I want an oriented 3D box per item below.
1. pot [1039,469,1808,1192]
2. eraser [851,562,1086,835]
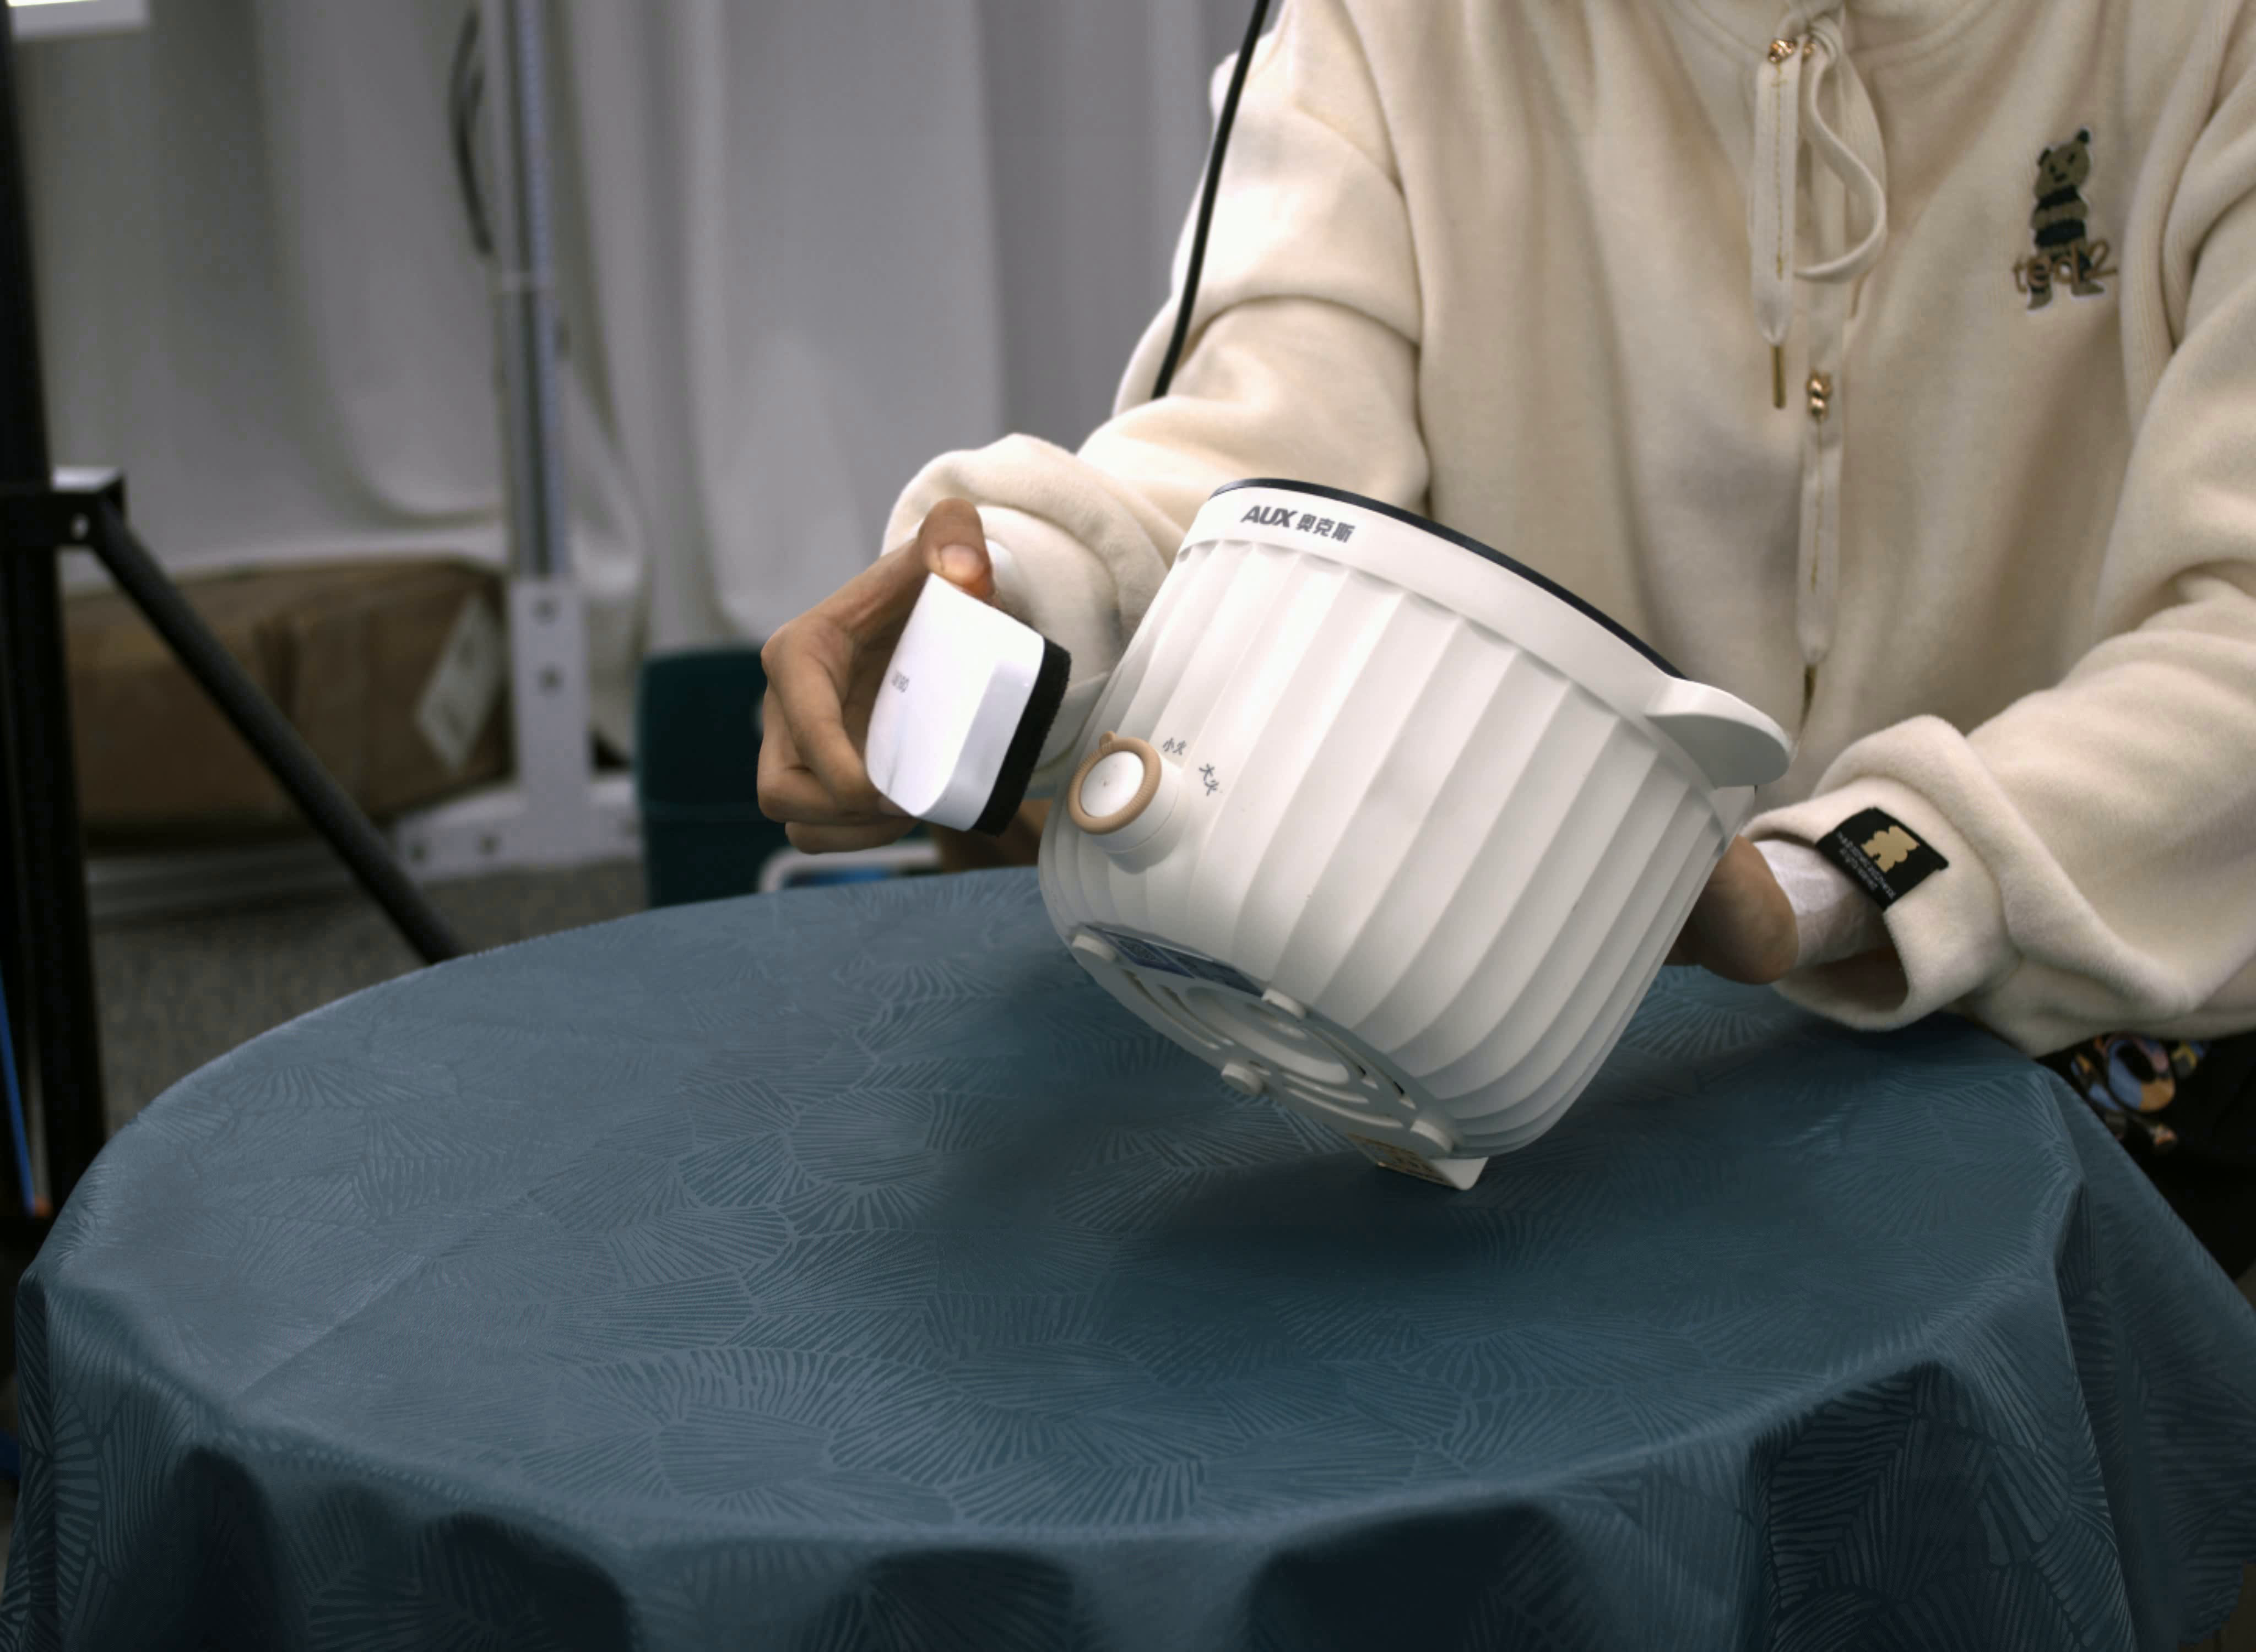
[{"bbox_3d":[0.068,0.003,1.515,0.246,0.186,0.142,14,65,45],"label":"pot"},{"bbox_3d":[-0.047,-0.037,1.503,0.034,0.063,0.133,24,3,-15],"label":"eraser"}]
